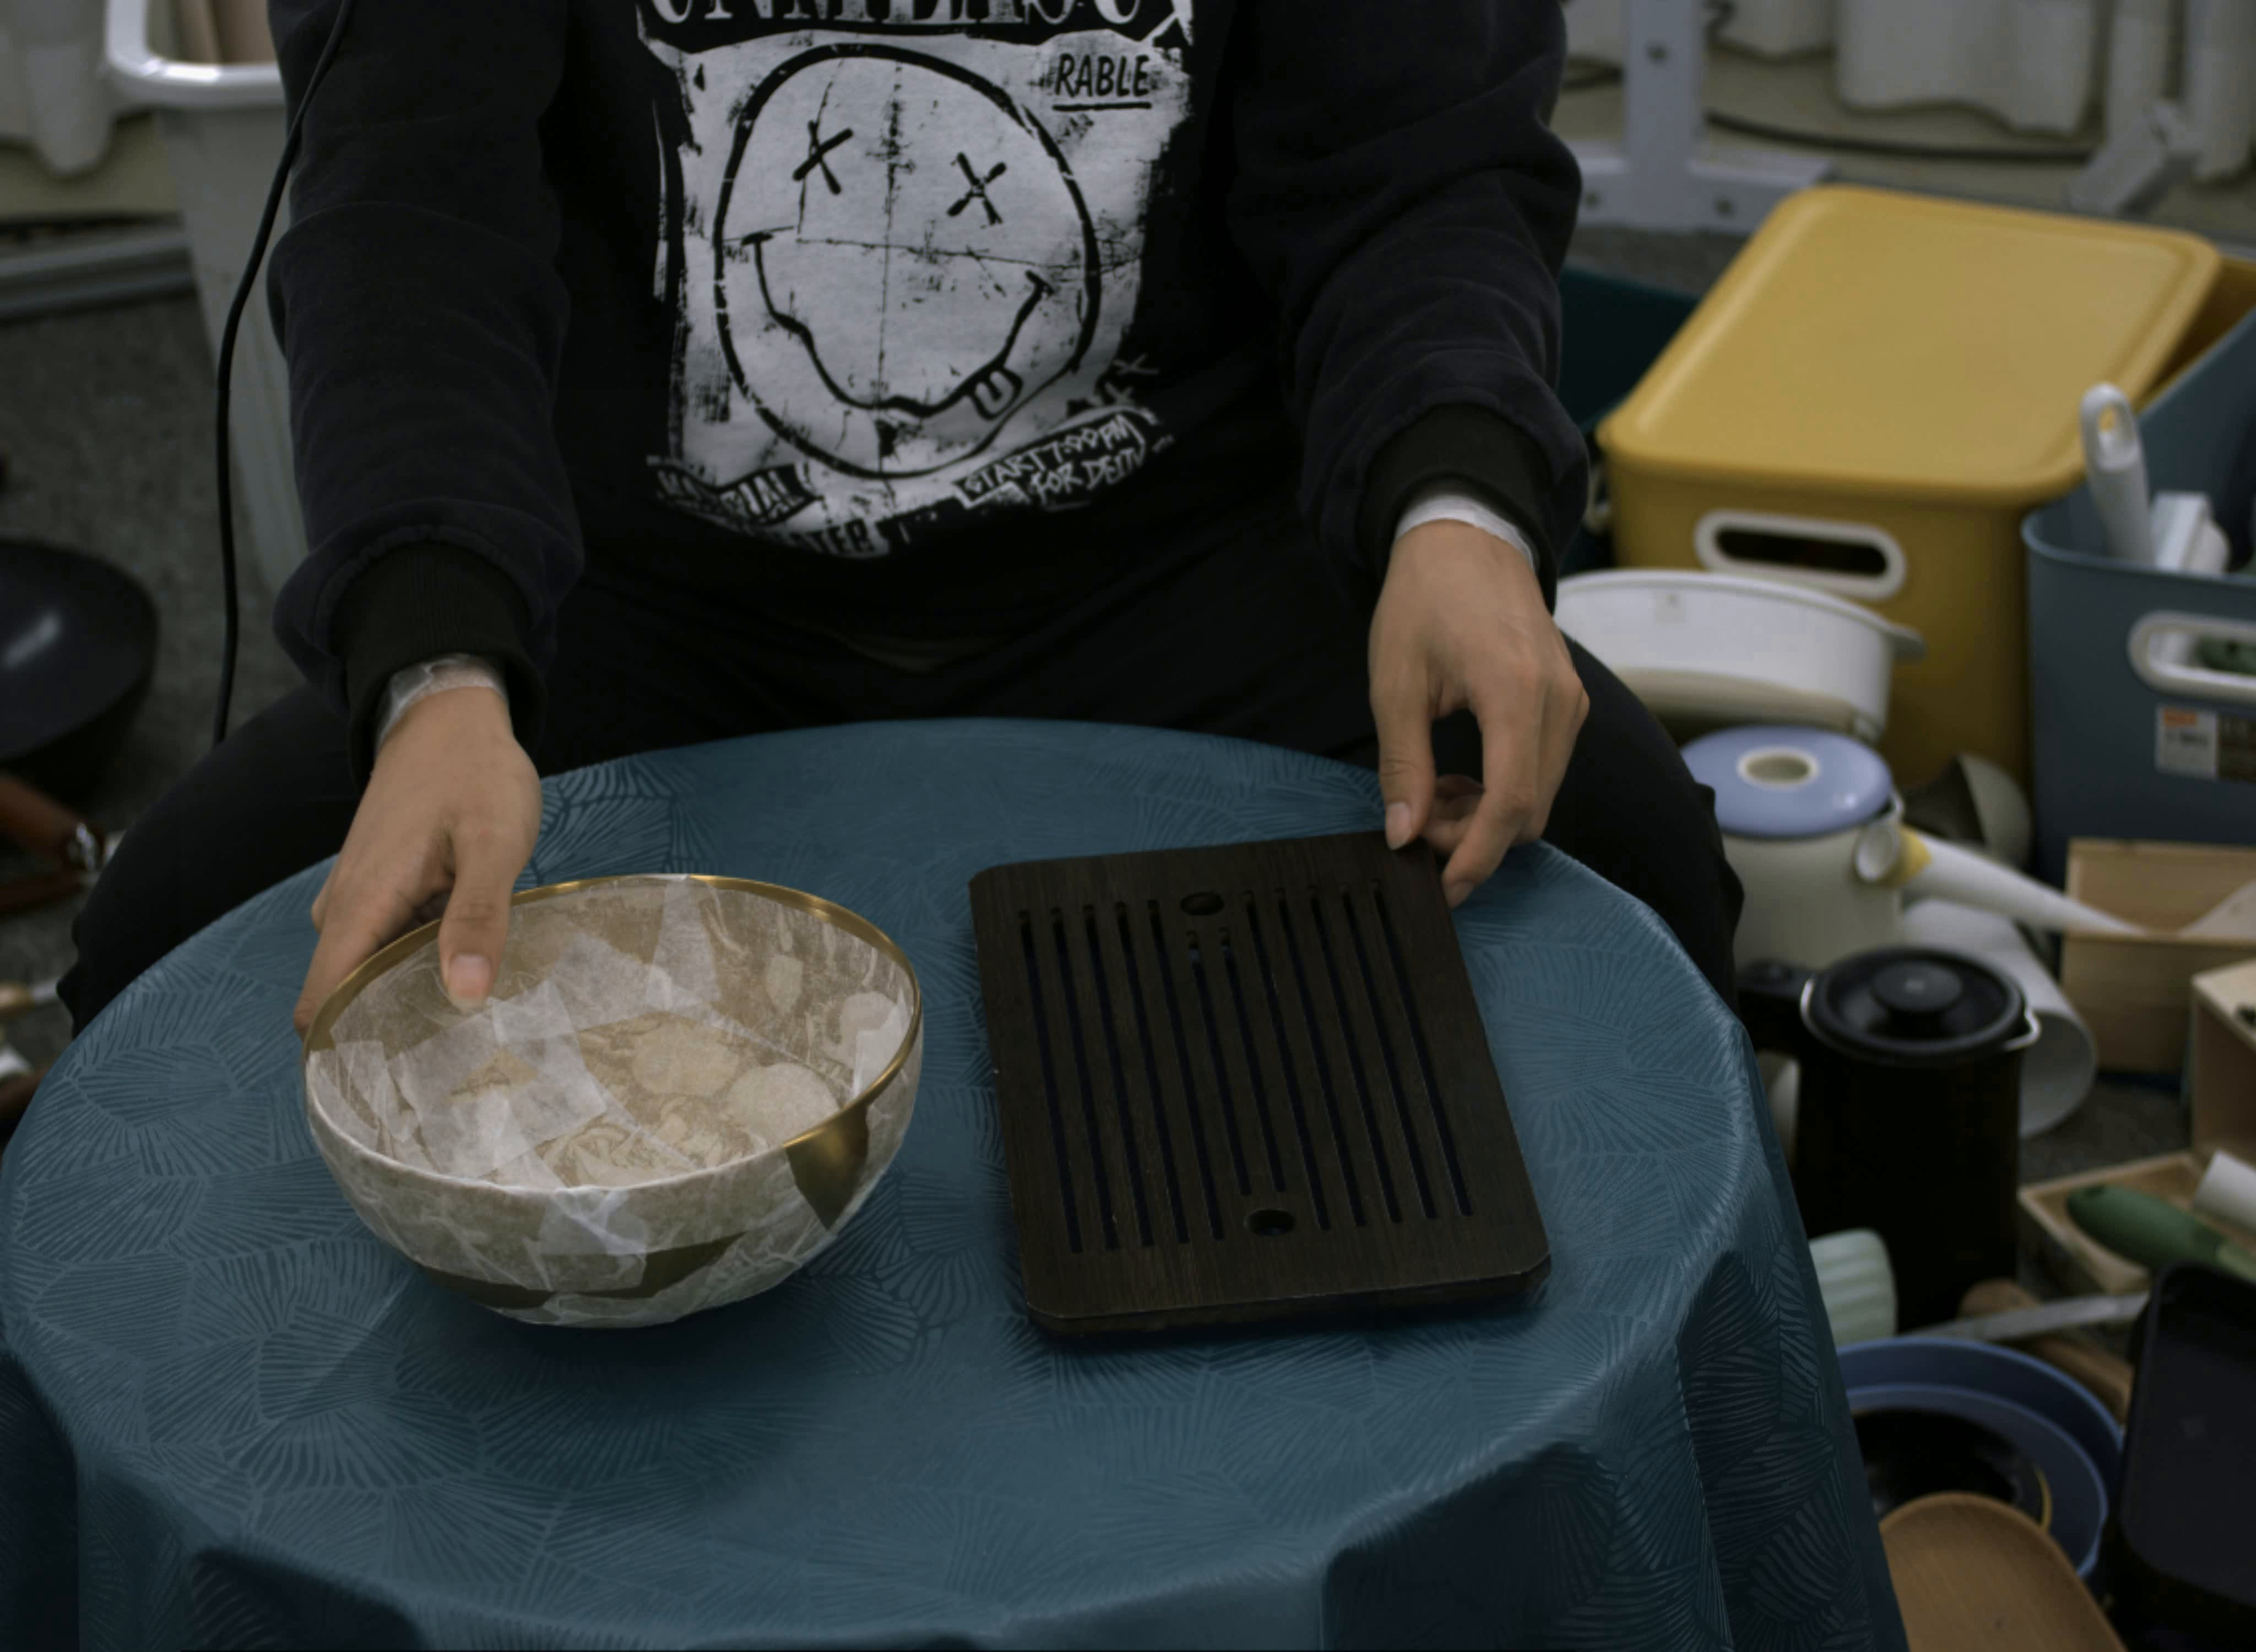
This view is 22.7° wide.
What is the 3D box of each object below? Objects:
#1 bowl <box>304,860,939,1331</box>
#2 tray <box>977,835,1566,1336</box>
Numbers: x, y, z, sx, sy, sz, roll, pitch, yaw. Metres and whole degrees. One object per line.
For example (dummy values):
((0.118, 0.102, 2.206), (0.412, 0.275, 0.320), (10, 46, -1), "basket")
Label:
((-0.158, 0.100, 1.819), (0.213, 0.093, 0.218), (-3, 28, 2), "bowl")
((0.042, 0.086, 1.908), (0.169, 0.018, 0.310), (-5, 27, -4), "tray")
